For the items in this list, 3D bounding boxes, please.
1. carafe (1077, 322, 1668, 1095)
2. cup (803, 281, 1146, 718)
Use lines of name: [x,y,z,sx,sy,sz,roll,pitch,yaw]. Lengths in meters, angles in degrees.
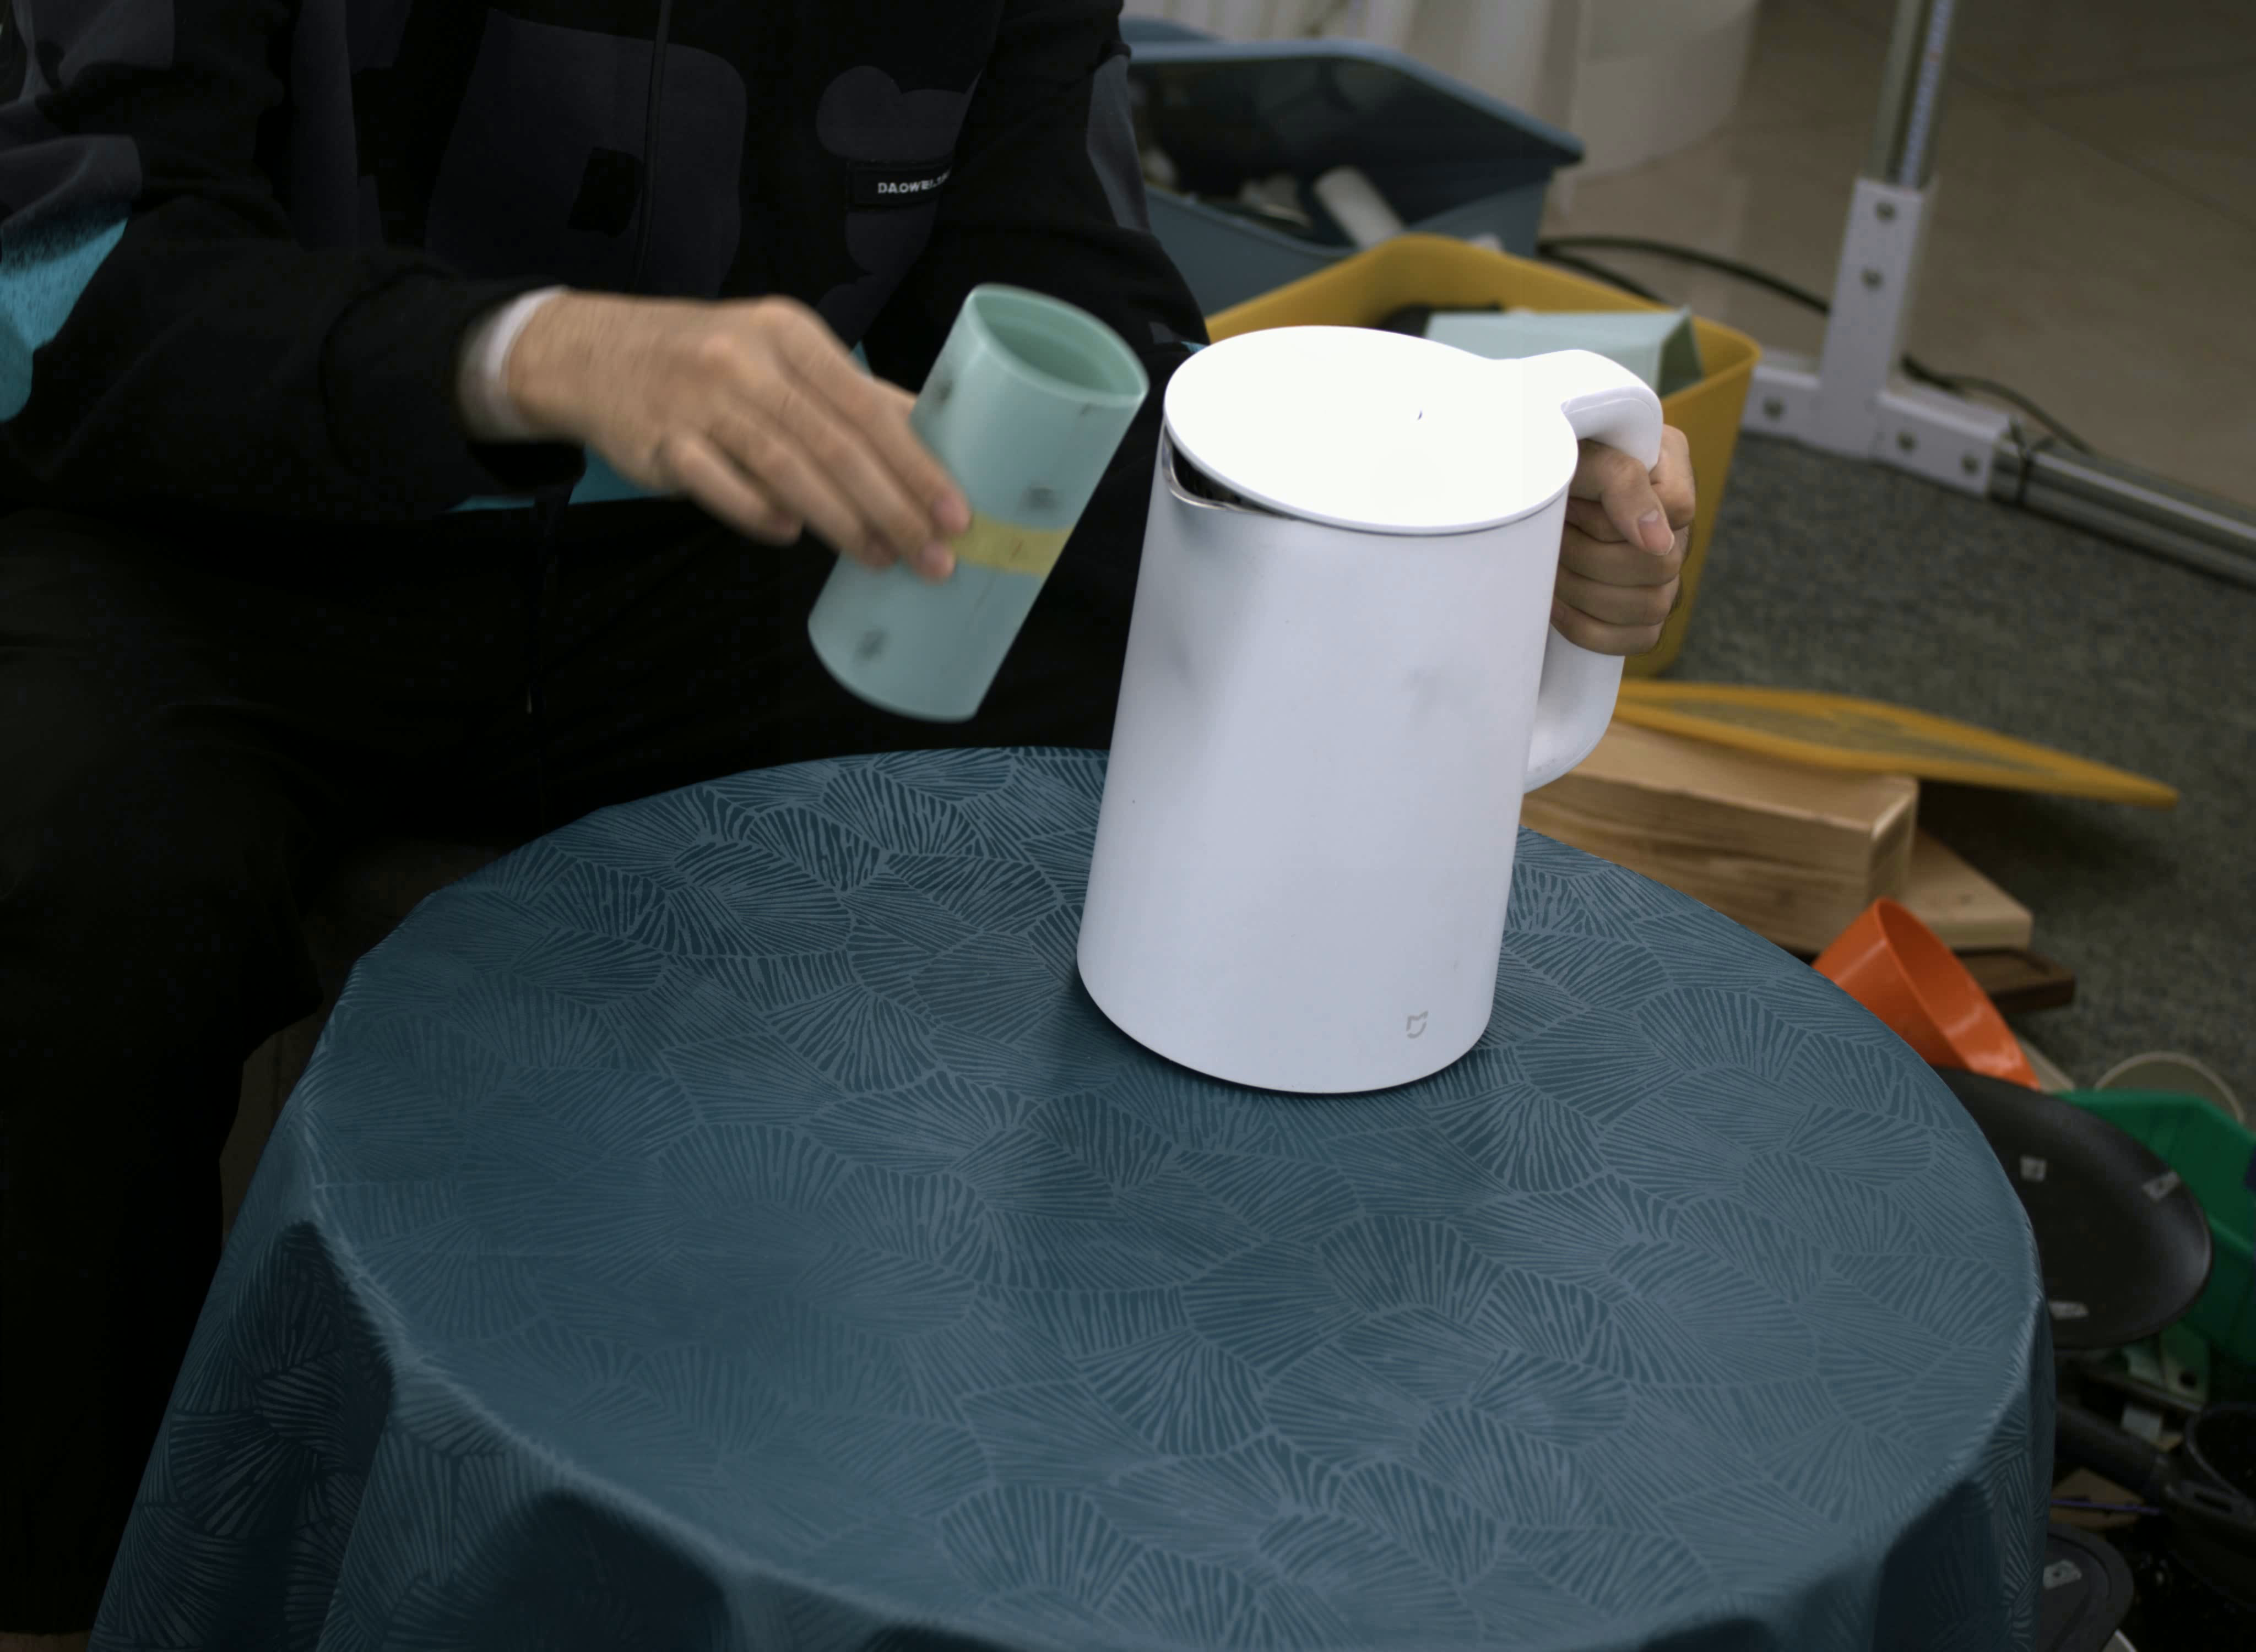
carafe: [0.092,-0.048,1.885,0.212,0.239,0.153,-16,39,-32]
cup: [-0.052,-0.108,1.746,0.066,0.132,0.067,23,26,-13]
